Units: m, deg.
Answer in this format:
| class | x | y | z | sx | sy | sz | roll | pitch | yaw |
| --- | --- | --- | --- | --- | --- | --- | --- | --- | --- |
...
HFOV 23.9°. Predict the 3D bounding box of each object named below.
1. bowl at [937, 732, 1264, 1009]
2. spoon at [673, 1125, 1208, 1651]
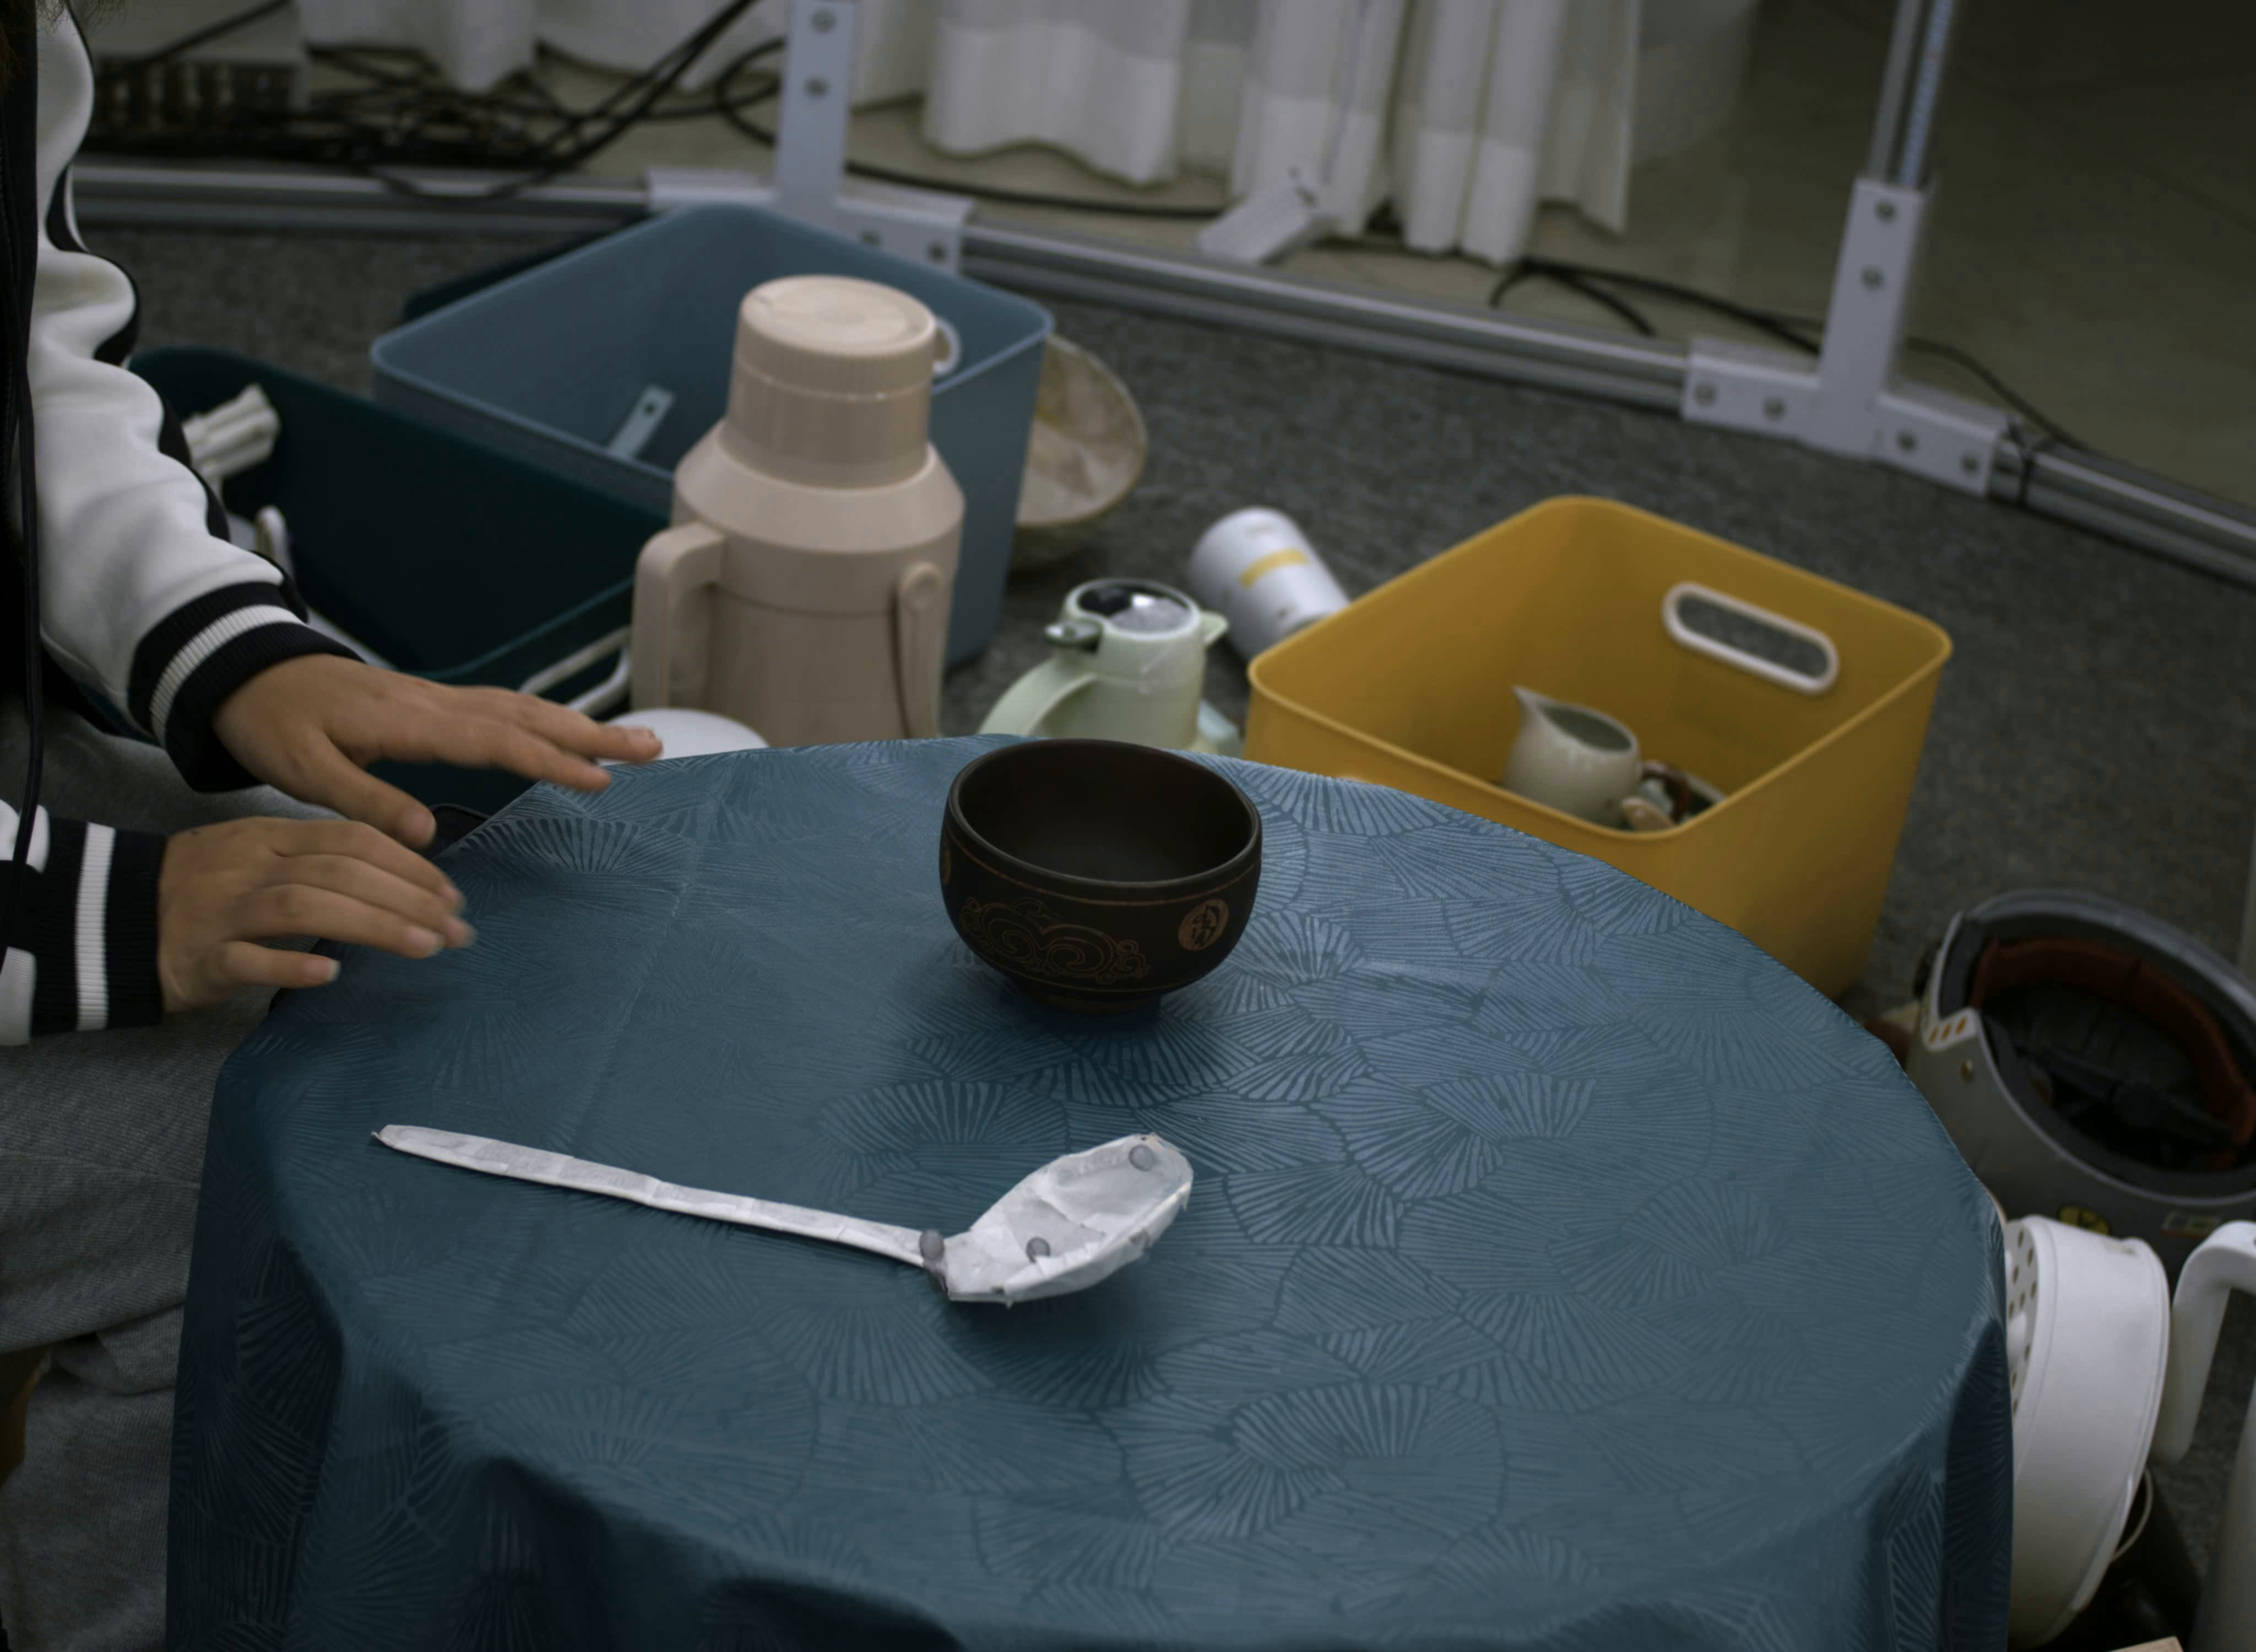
| class | x | y | z | sx | sy | sz | roll | pitch | yaw |
| --- | --- | --- | --- | --- | --- | --- | --- | --- | --- |
| bowl | -0.012 | 0.022 | 1.917 | 0.117 | 0.069 | 0.119 | 5 | 26 | -3 |
| spoon | -0.072 | 0.207 | 1.743 | 0.059 | 0.277 | 0.101 | 33 | 1 | -10 |
